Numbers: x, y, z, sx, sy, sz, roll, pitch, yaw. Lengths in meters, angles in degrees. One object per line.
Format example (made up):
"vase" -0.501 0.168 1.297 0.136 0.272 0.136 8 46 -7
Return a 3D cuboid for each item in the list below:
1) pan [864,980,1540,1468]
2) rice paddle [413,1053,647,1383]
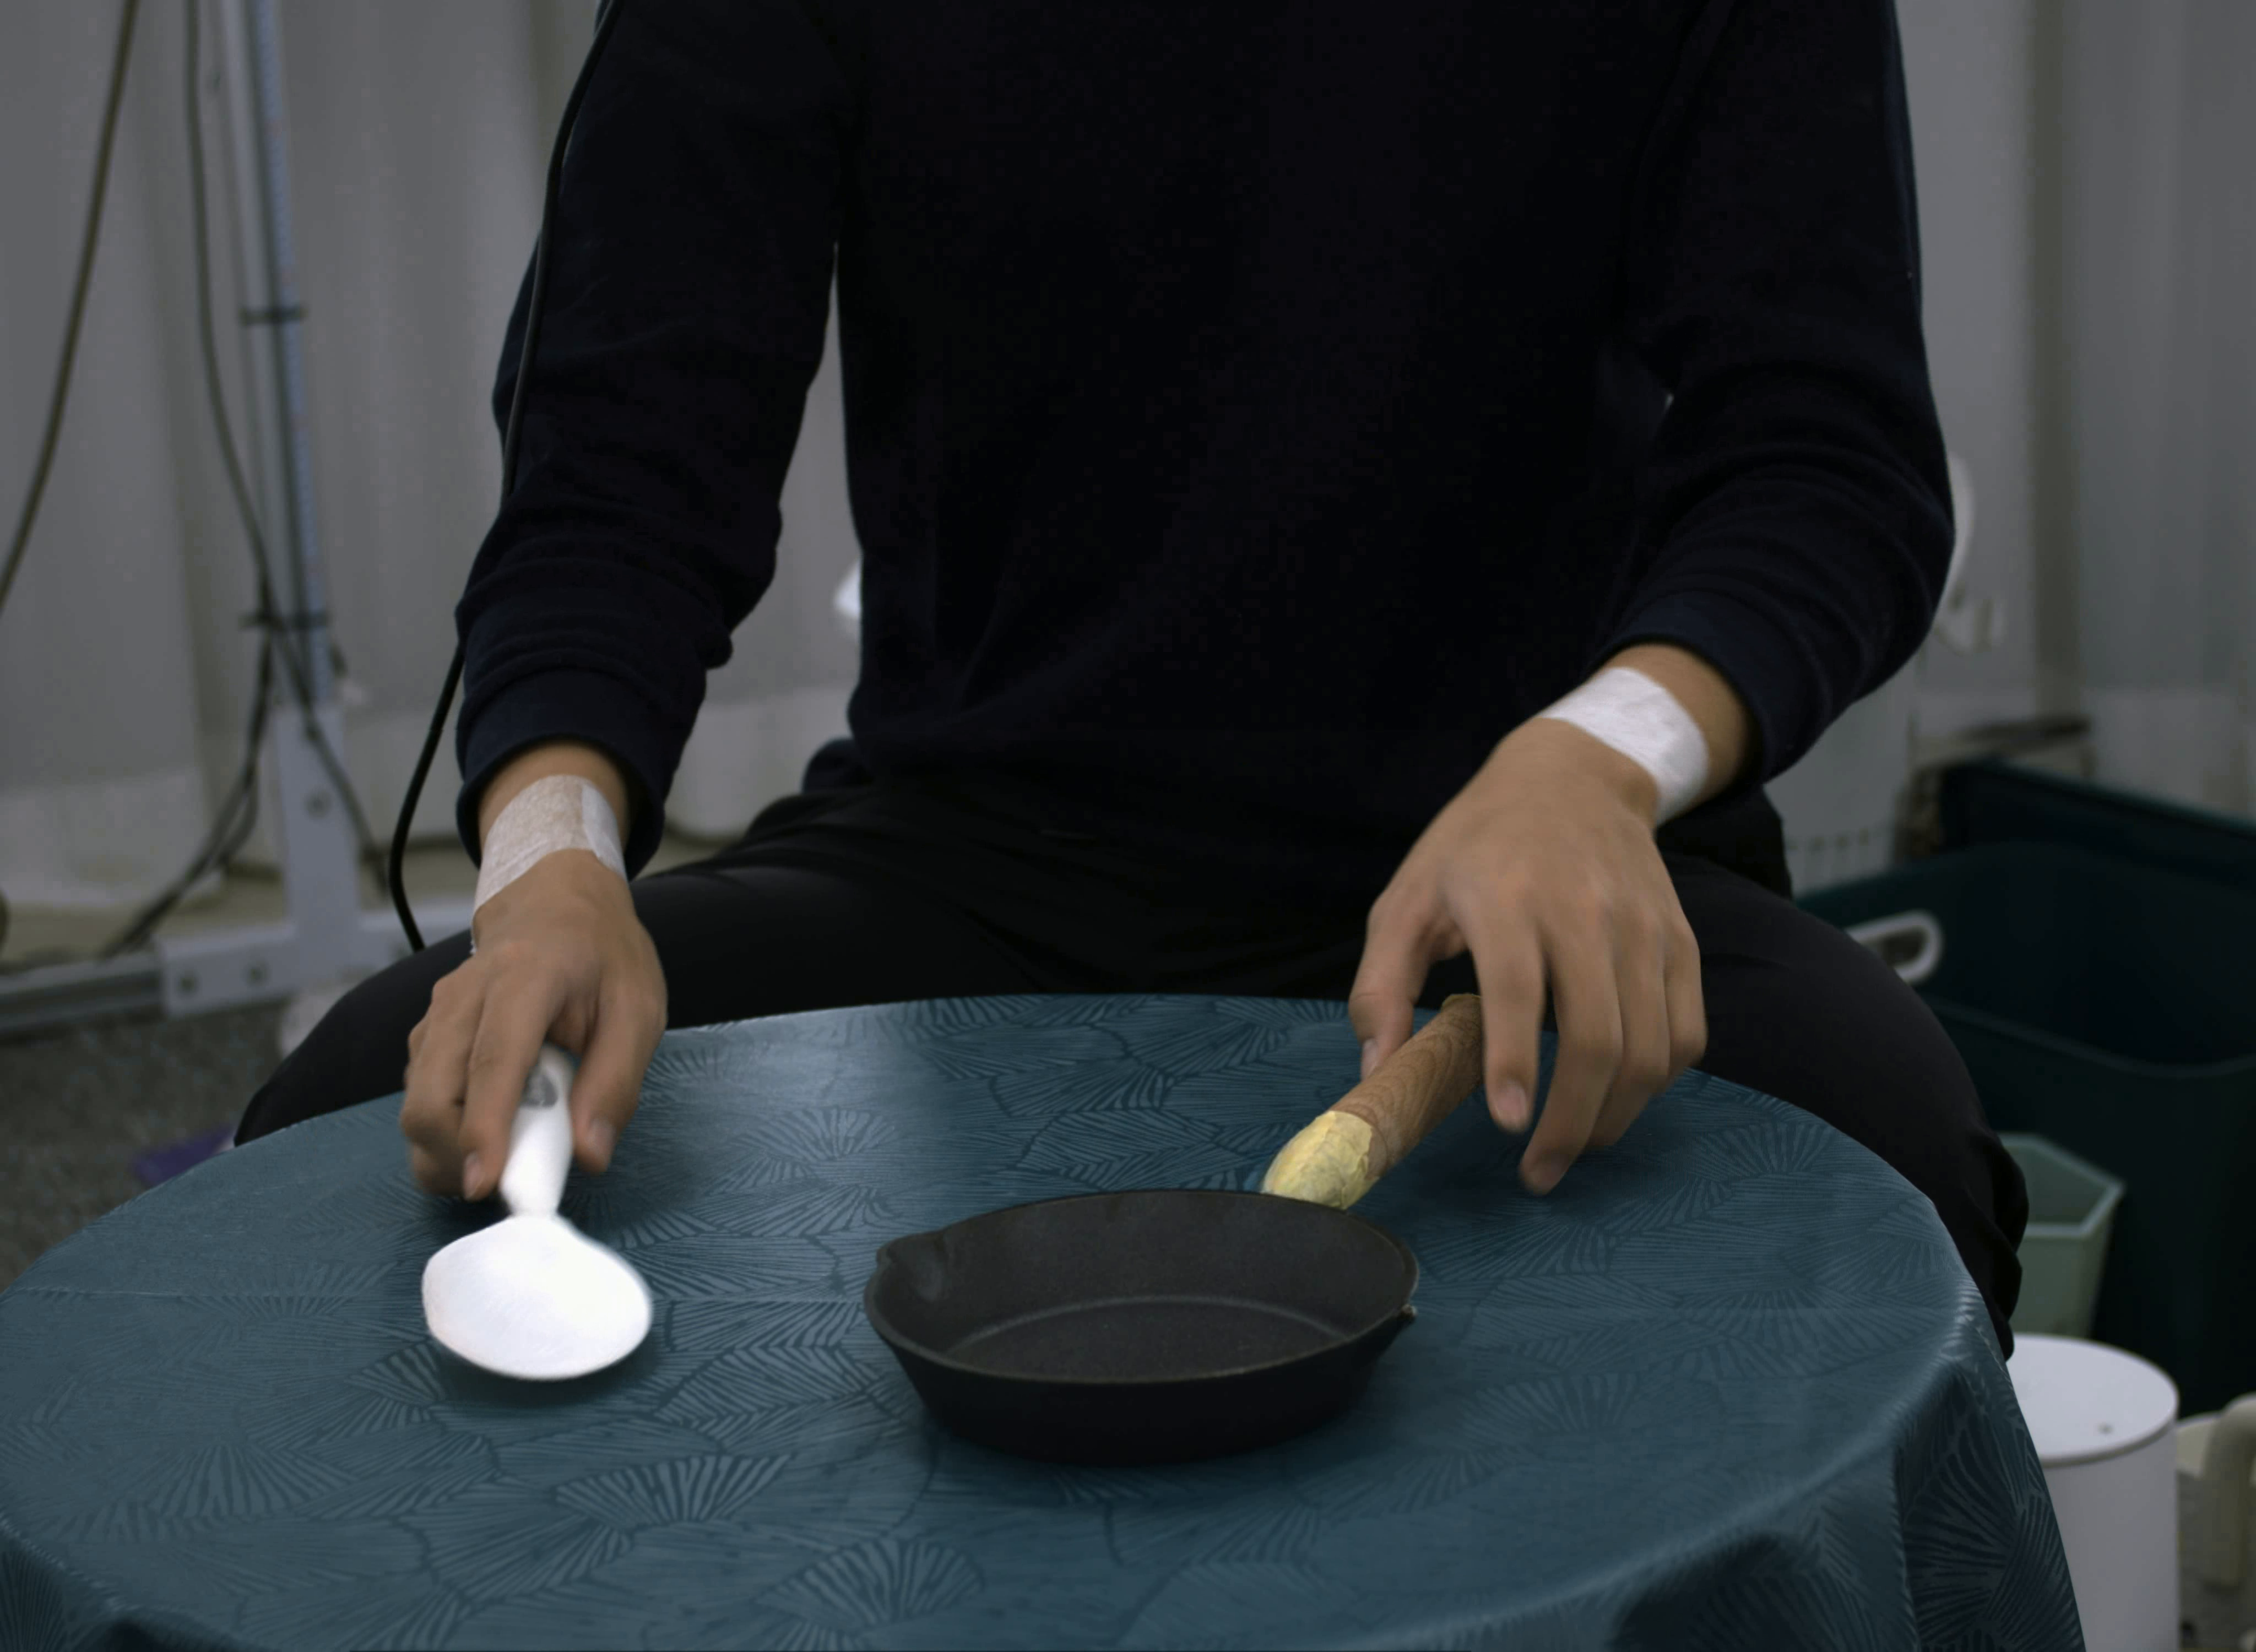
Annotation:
"pan" 0.047 0.114 1.613 0.169 0.049 0.324 6 19 31
"rice paddle" -0.181 0.120 1.648 0.068 0.029 0.207 5 19 -9
